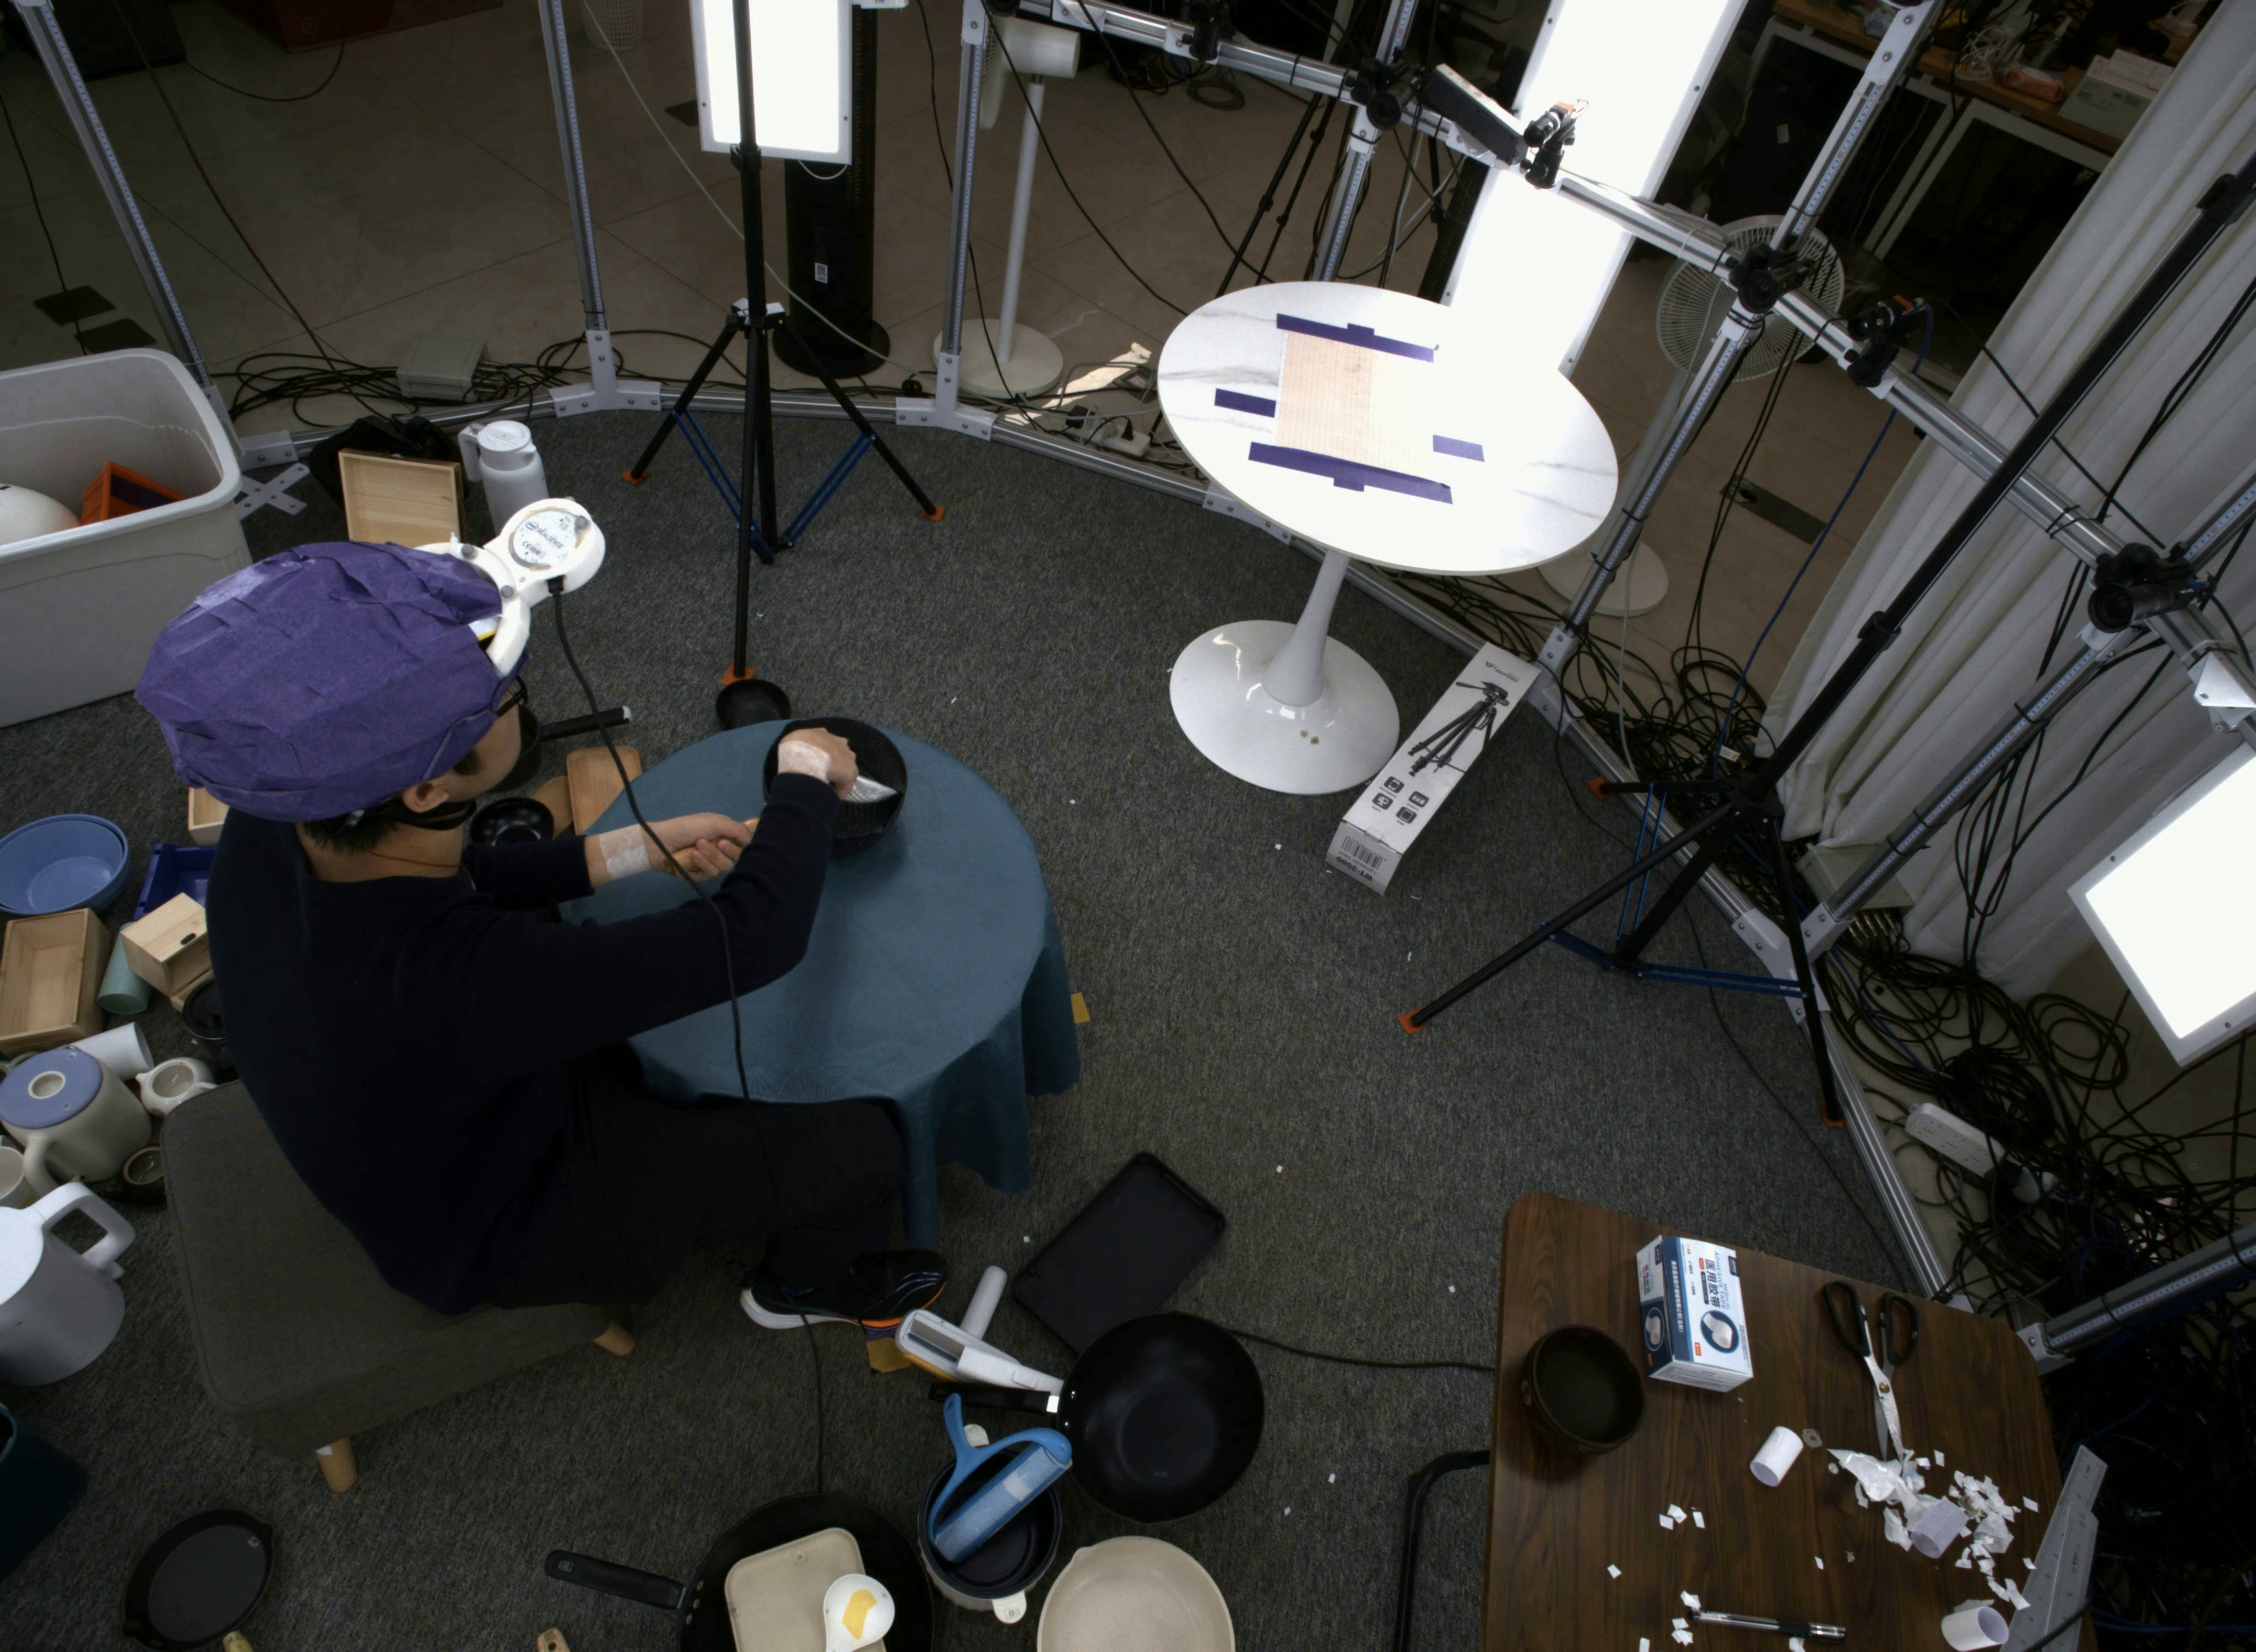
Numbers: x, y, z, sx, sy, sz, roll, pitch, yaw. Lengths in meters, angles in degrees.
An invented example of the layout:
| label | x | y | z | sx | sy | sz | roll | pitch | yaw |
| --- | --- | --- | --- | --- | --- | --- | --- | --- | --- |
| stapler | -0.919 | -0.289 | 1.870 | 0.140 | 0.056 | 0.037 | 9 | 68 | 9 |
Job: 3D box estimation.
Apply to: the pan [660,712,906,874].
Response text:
| label | x | y | z | sx | sy | sz | roll | pitch | yaw |
| --- | --- | --- | --- | --- | --- | --- | --- | --- | --- |
| pan | -0.438 | -0.012 | 1.641 | 0.205 | 0.109 | 0.343 | 47 | 56 | 10 |

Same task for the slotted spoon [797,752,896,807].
| label | x | y | z | sx | sy | sz | roll | pitch | yaw |
| --- | --- | --- | --- | --- | --- | --- | --- | --- | --- |
| slotted spoon | -0.360 | -0.059 | 1.583 | 0.137 | 0.346 | 0.050 | 23 | 82 | -6 |
